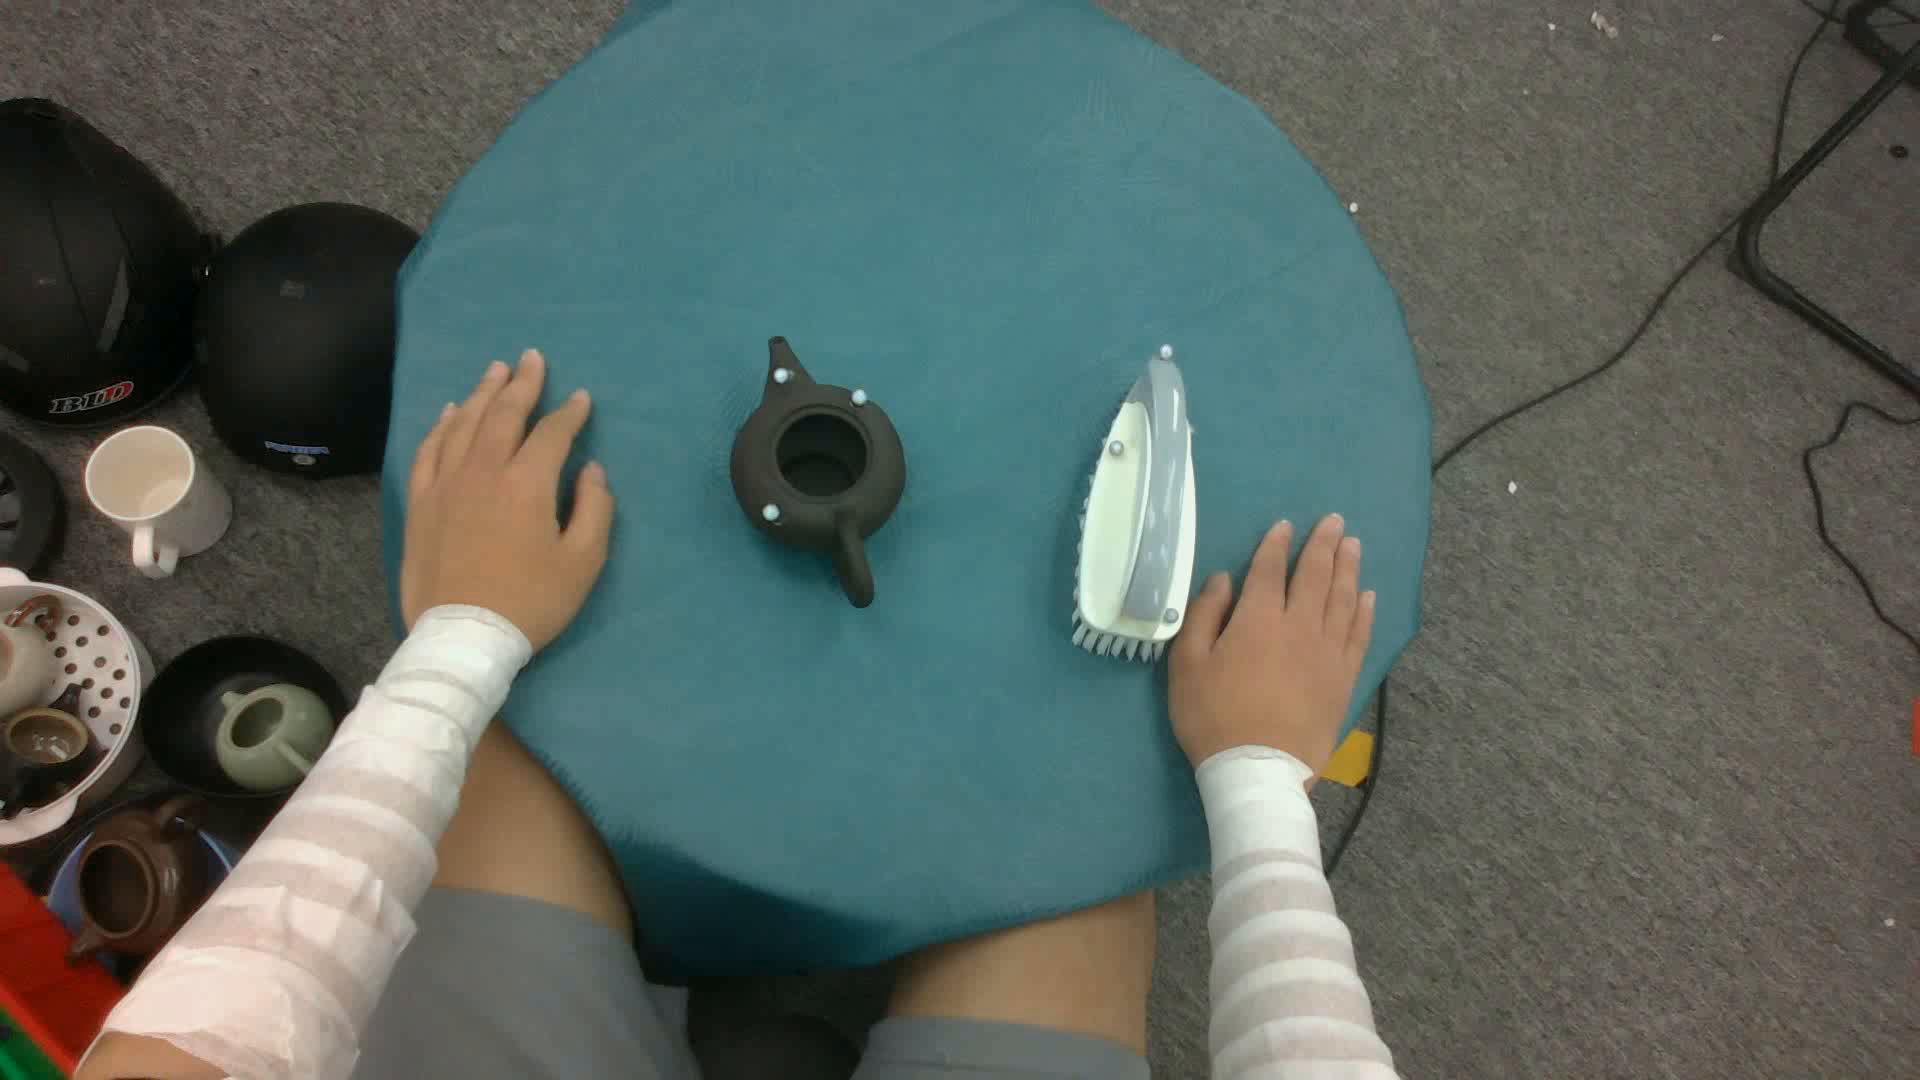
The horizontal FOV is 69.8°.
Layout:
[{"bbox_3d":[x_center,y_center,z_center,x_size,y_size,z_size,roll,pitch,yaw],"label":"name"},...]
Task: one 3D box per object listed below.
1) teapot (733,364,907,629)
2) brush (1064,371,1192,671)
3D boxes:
[{"bbox_3d":[-0.075,-0.022,0.744,0.092,0.064,0.154,-18,71,-15],"label":"teapot"},{"bbox_3d":[0.100,-0.024,0.757,0.061,0.094,0.176,11,66,-8],"label":"brush"}]
